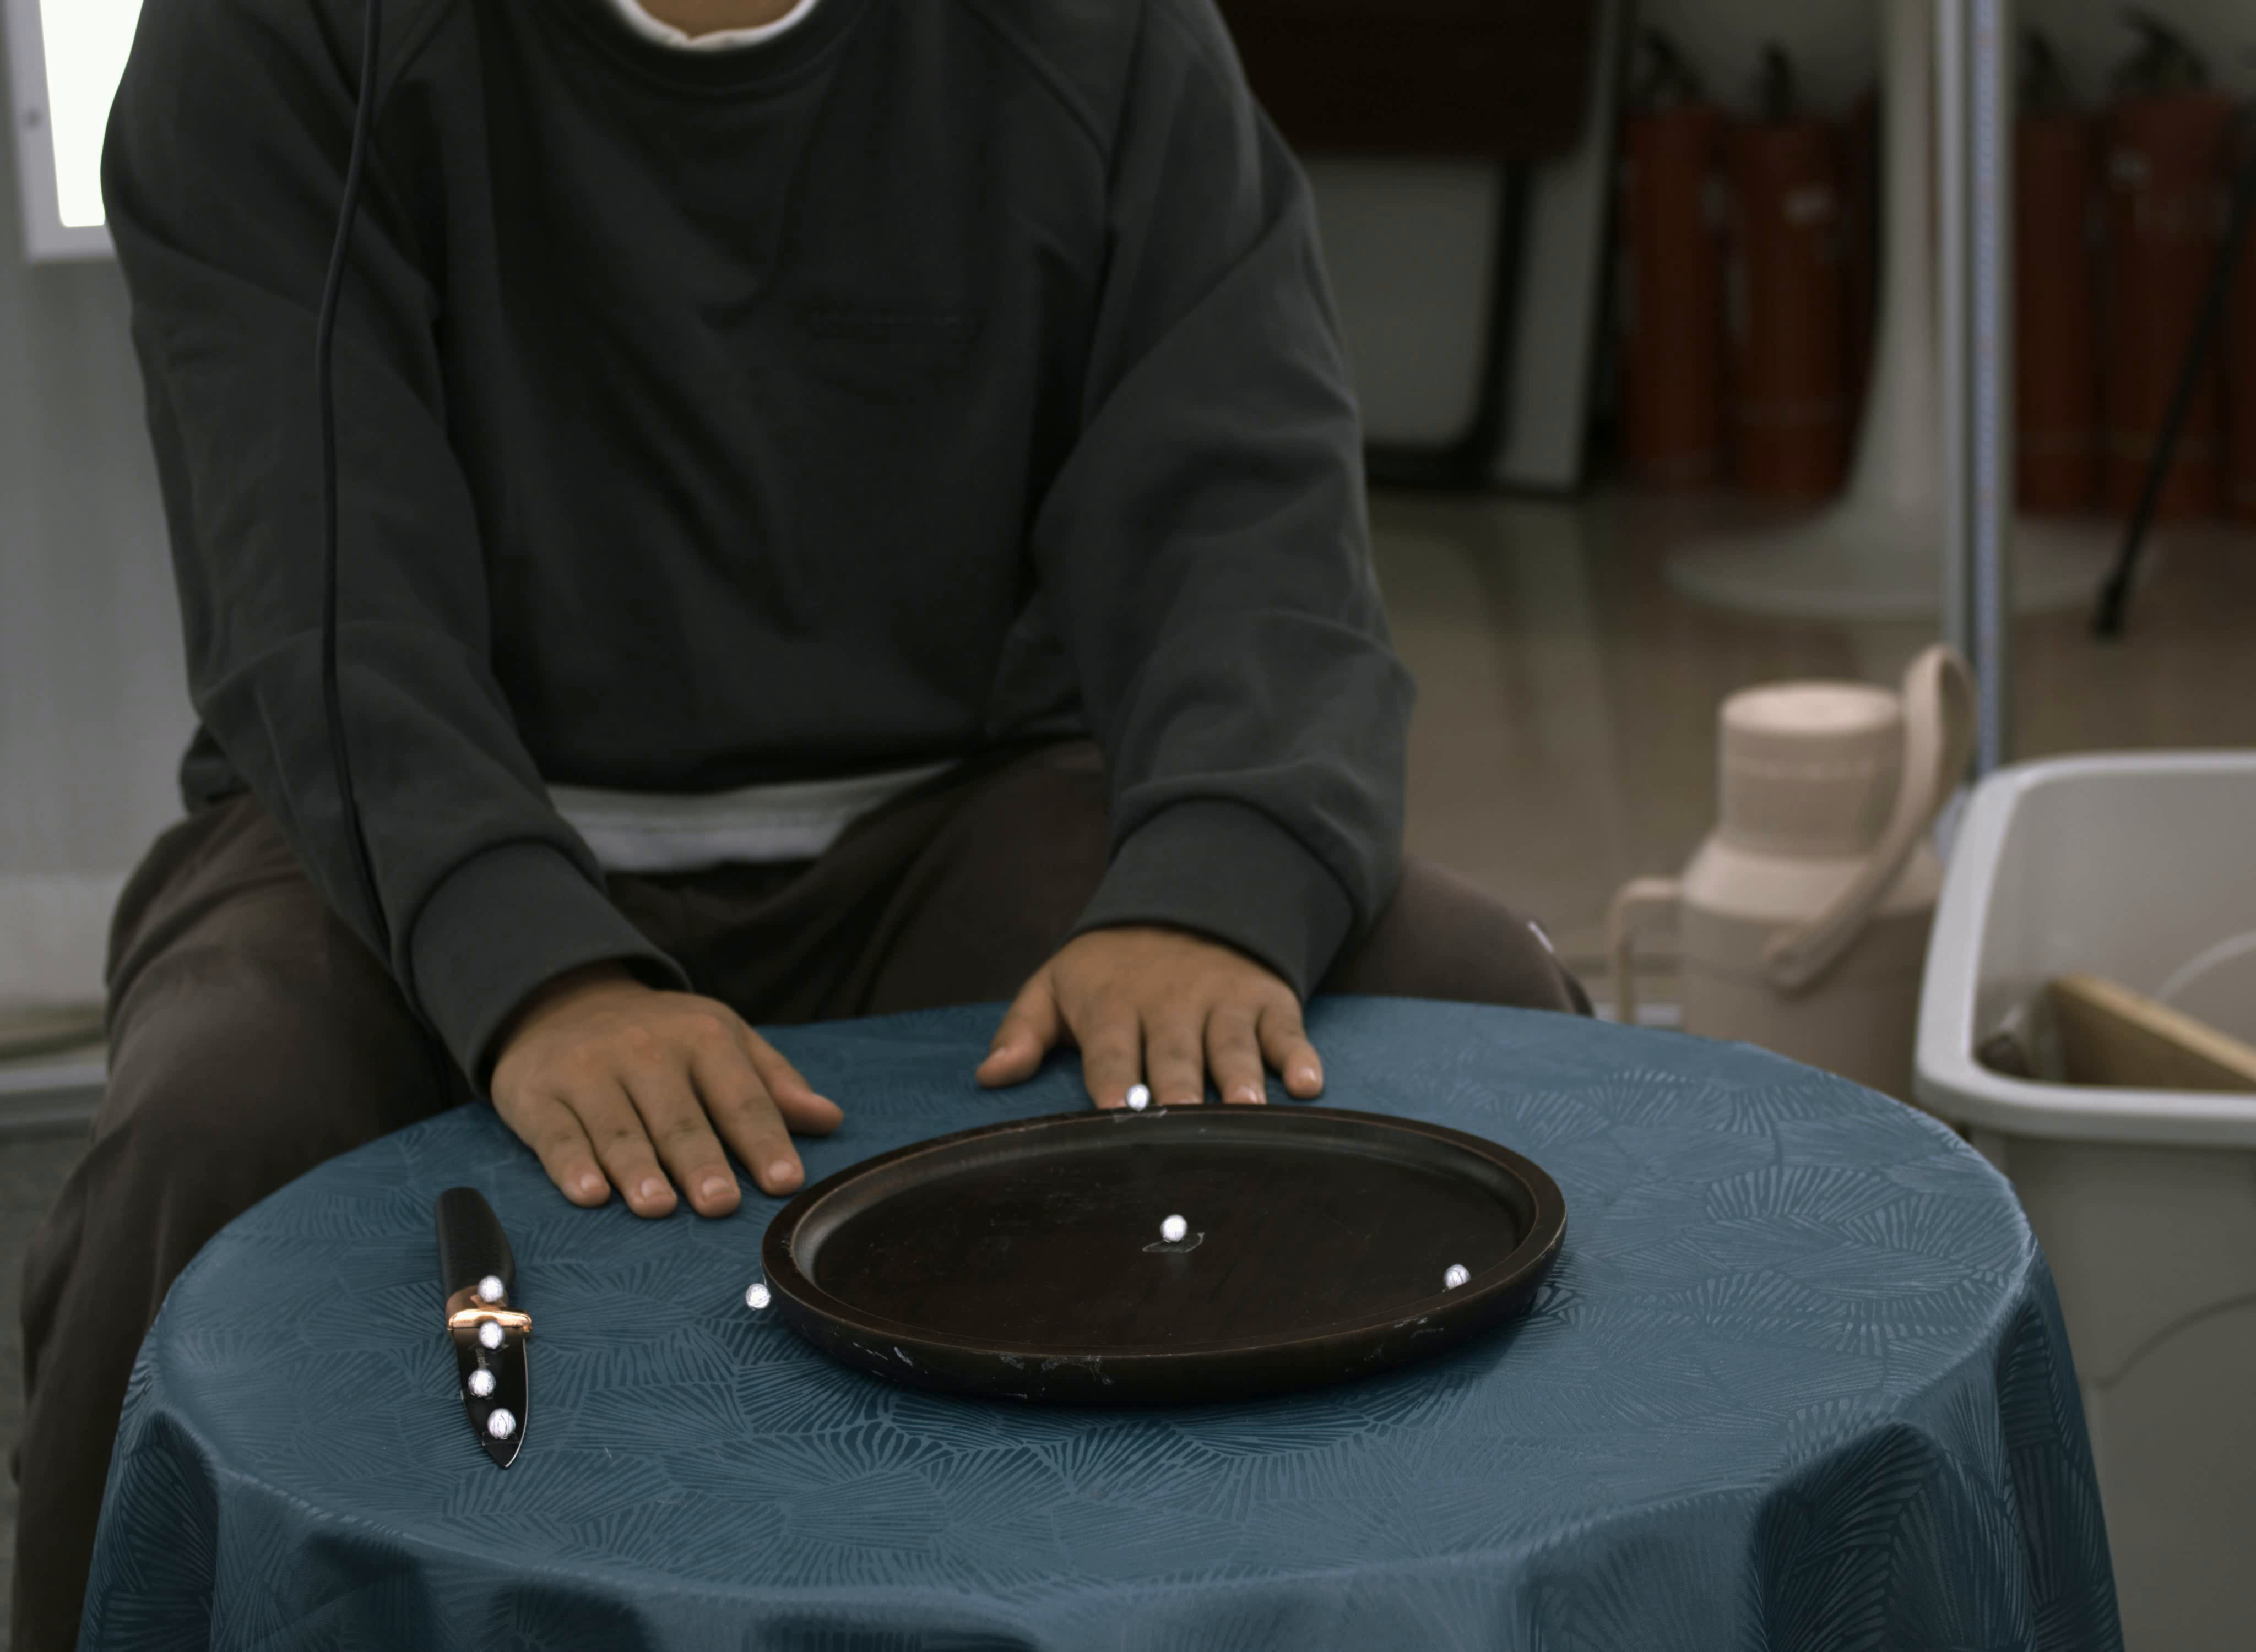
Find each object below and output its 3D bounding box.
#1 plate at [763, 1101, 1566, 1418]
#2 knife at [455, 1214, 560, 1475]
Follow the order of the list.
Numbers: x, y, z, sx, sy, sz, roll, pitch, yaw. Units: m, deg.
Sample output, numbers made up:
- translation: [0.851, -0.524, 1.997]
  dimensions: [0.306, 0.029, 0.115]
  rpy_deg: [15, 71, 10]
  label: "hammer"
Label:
- translation: [0.012, 0.133, 1.677]
  dimensions: [0.251, 0.029, 0.255]
  rpy_deg: [-5, 13, 0]
  label: "plate"
- translation: [-0.190, 0.158, 1.658]
  dimensions: [0.026, 0.017, 0.227]
  rpy_deg: [0, 14, -9]
  label: "knife"
